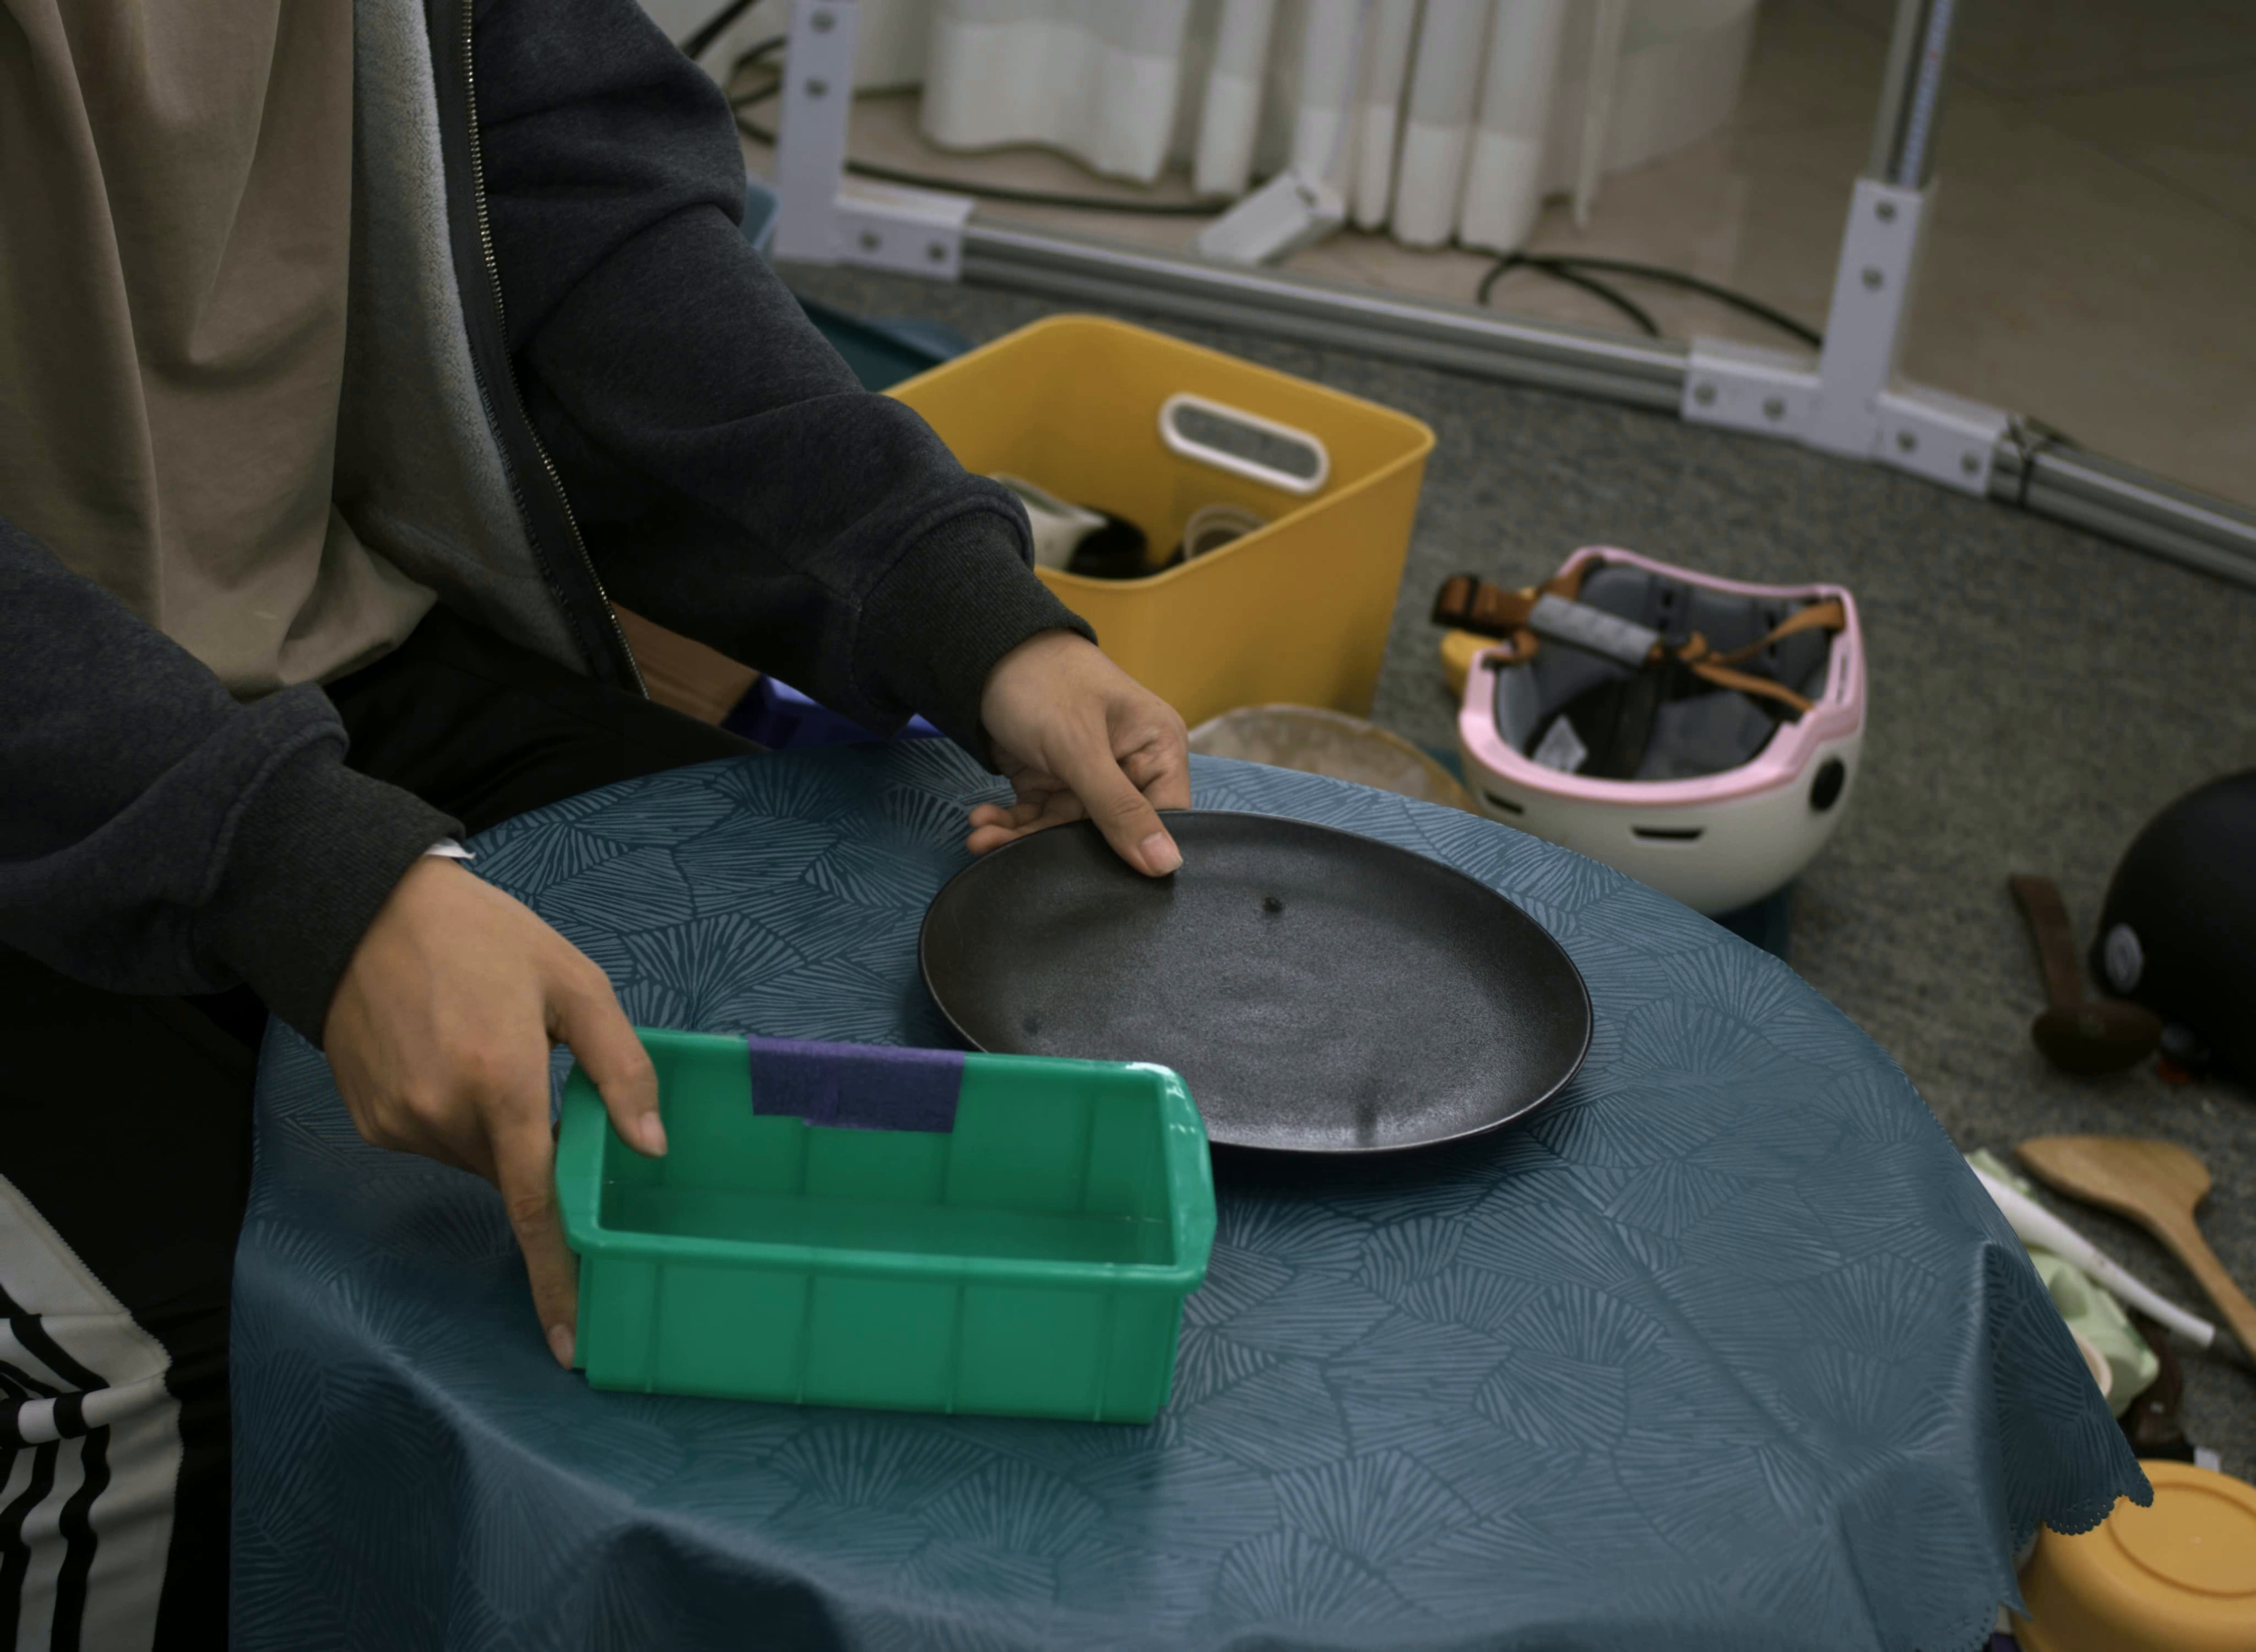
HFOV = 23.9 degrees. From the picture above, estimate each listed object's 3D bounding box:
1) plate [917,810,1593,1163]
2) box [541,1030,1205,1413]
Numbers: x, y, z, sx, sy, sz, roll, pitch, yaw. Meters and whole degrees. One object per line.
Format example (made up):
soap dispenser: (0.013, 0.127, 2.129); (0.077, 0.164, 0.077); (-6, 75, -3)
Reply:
plate: (0.044, 0.061, 1.905); (0.243, 0.023, 0.246); (5, 28, -3)
box: (-0.083, 0.128, 1.704); (0.209, 0.065, 0.139); (2, 25, -5)
